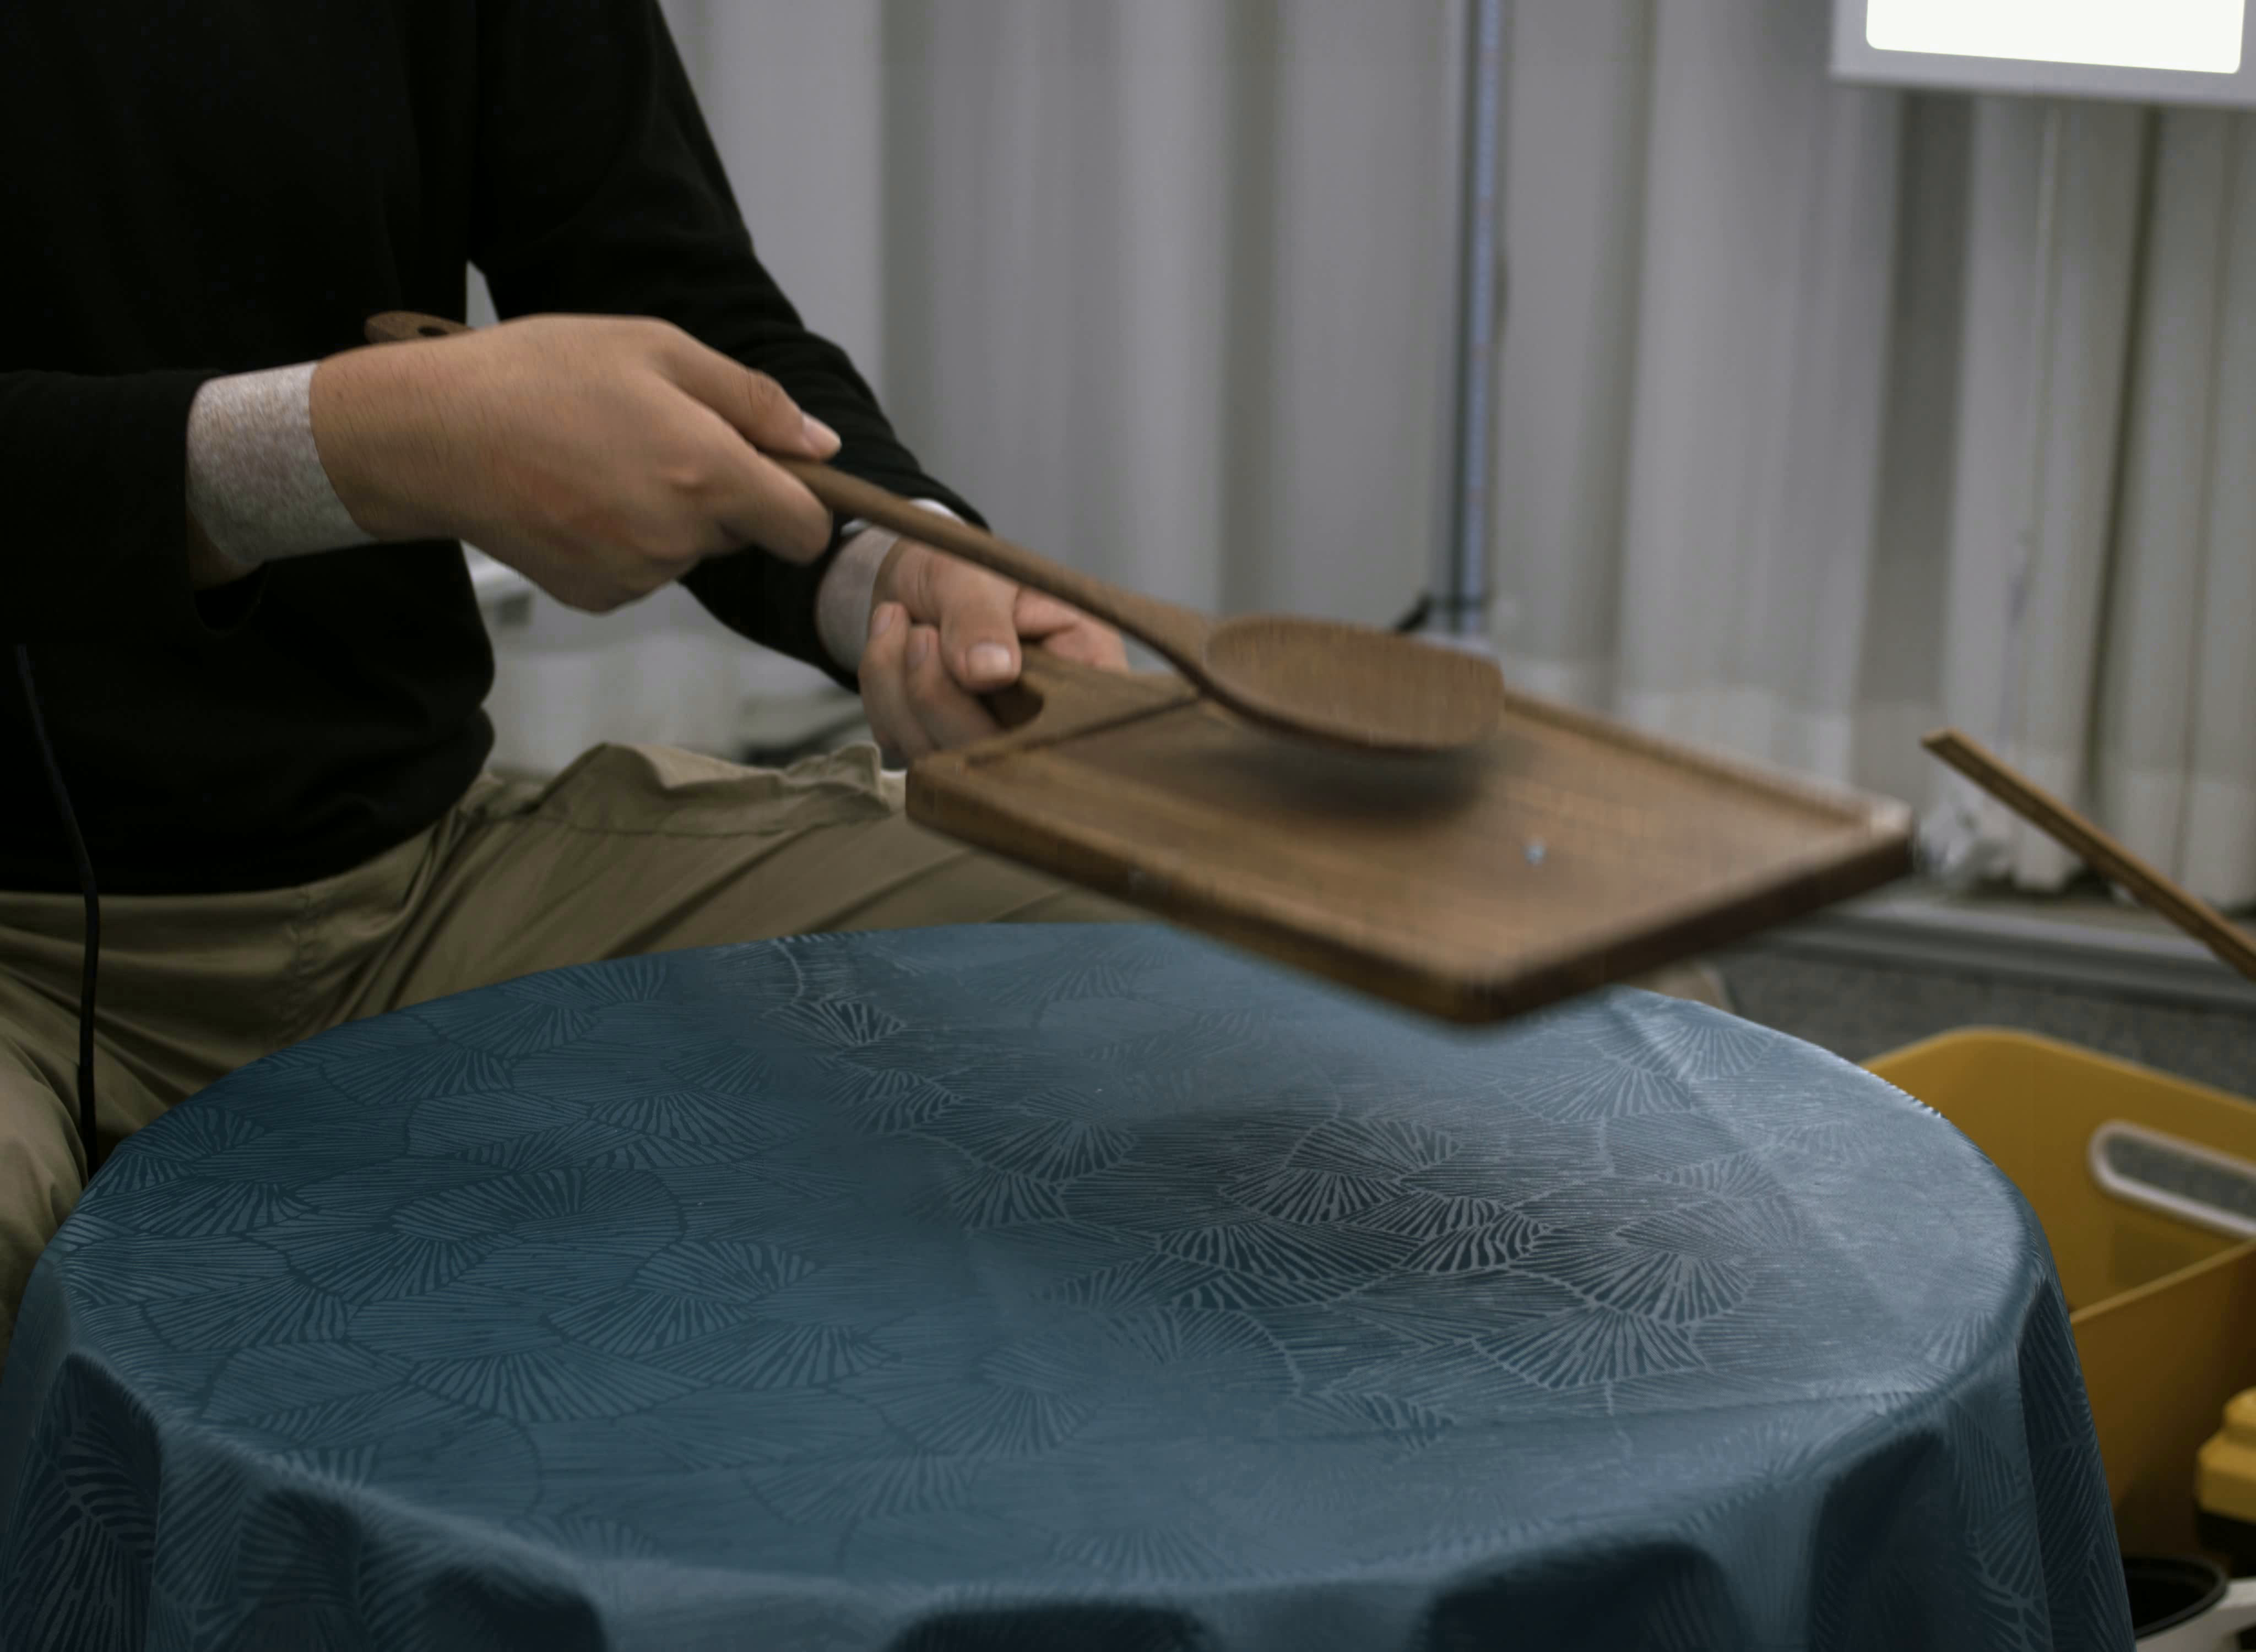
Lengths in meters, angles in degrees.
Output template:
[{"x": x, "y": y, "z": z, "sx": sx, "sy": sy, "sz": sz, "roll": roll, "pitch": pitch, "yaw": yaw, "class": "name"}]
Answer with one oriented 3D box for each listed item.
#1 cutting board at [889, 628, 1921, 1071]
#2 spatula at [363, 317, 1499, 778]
[{"x": 0.050, "y": -0.008, "z": 1.618, "sx": 0.202, "sy": 0.023, "sz": 0.347, "roll": -17, "pitch": 28, "yaw": -41, "class": "cutting board"}, {"x": -0.066, "y": -0.091, "z": 1.633, "sx": 0.383, "sy": 0.016, "sz": 0.096, "roll": 22, "pitch": 25, "yaw": 10, "class": "spatula"}]
